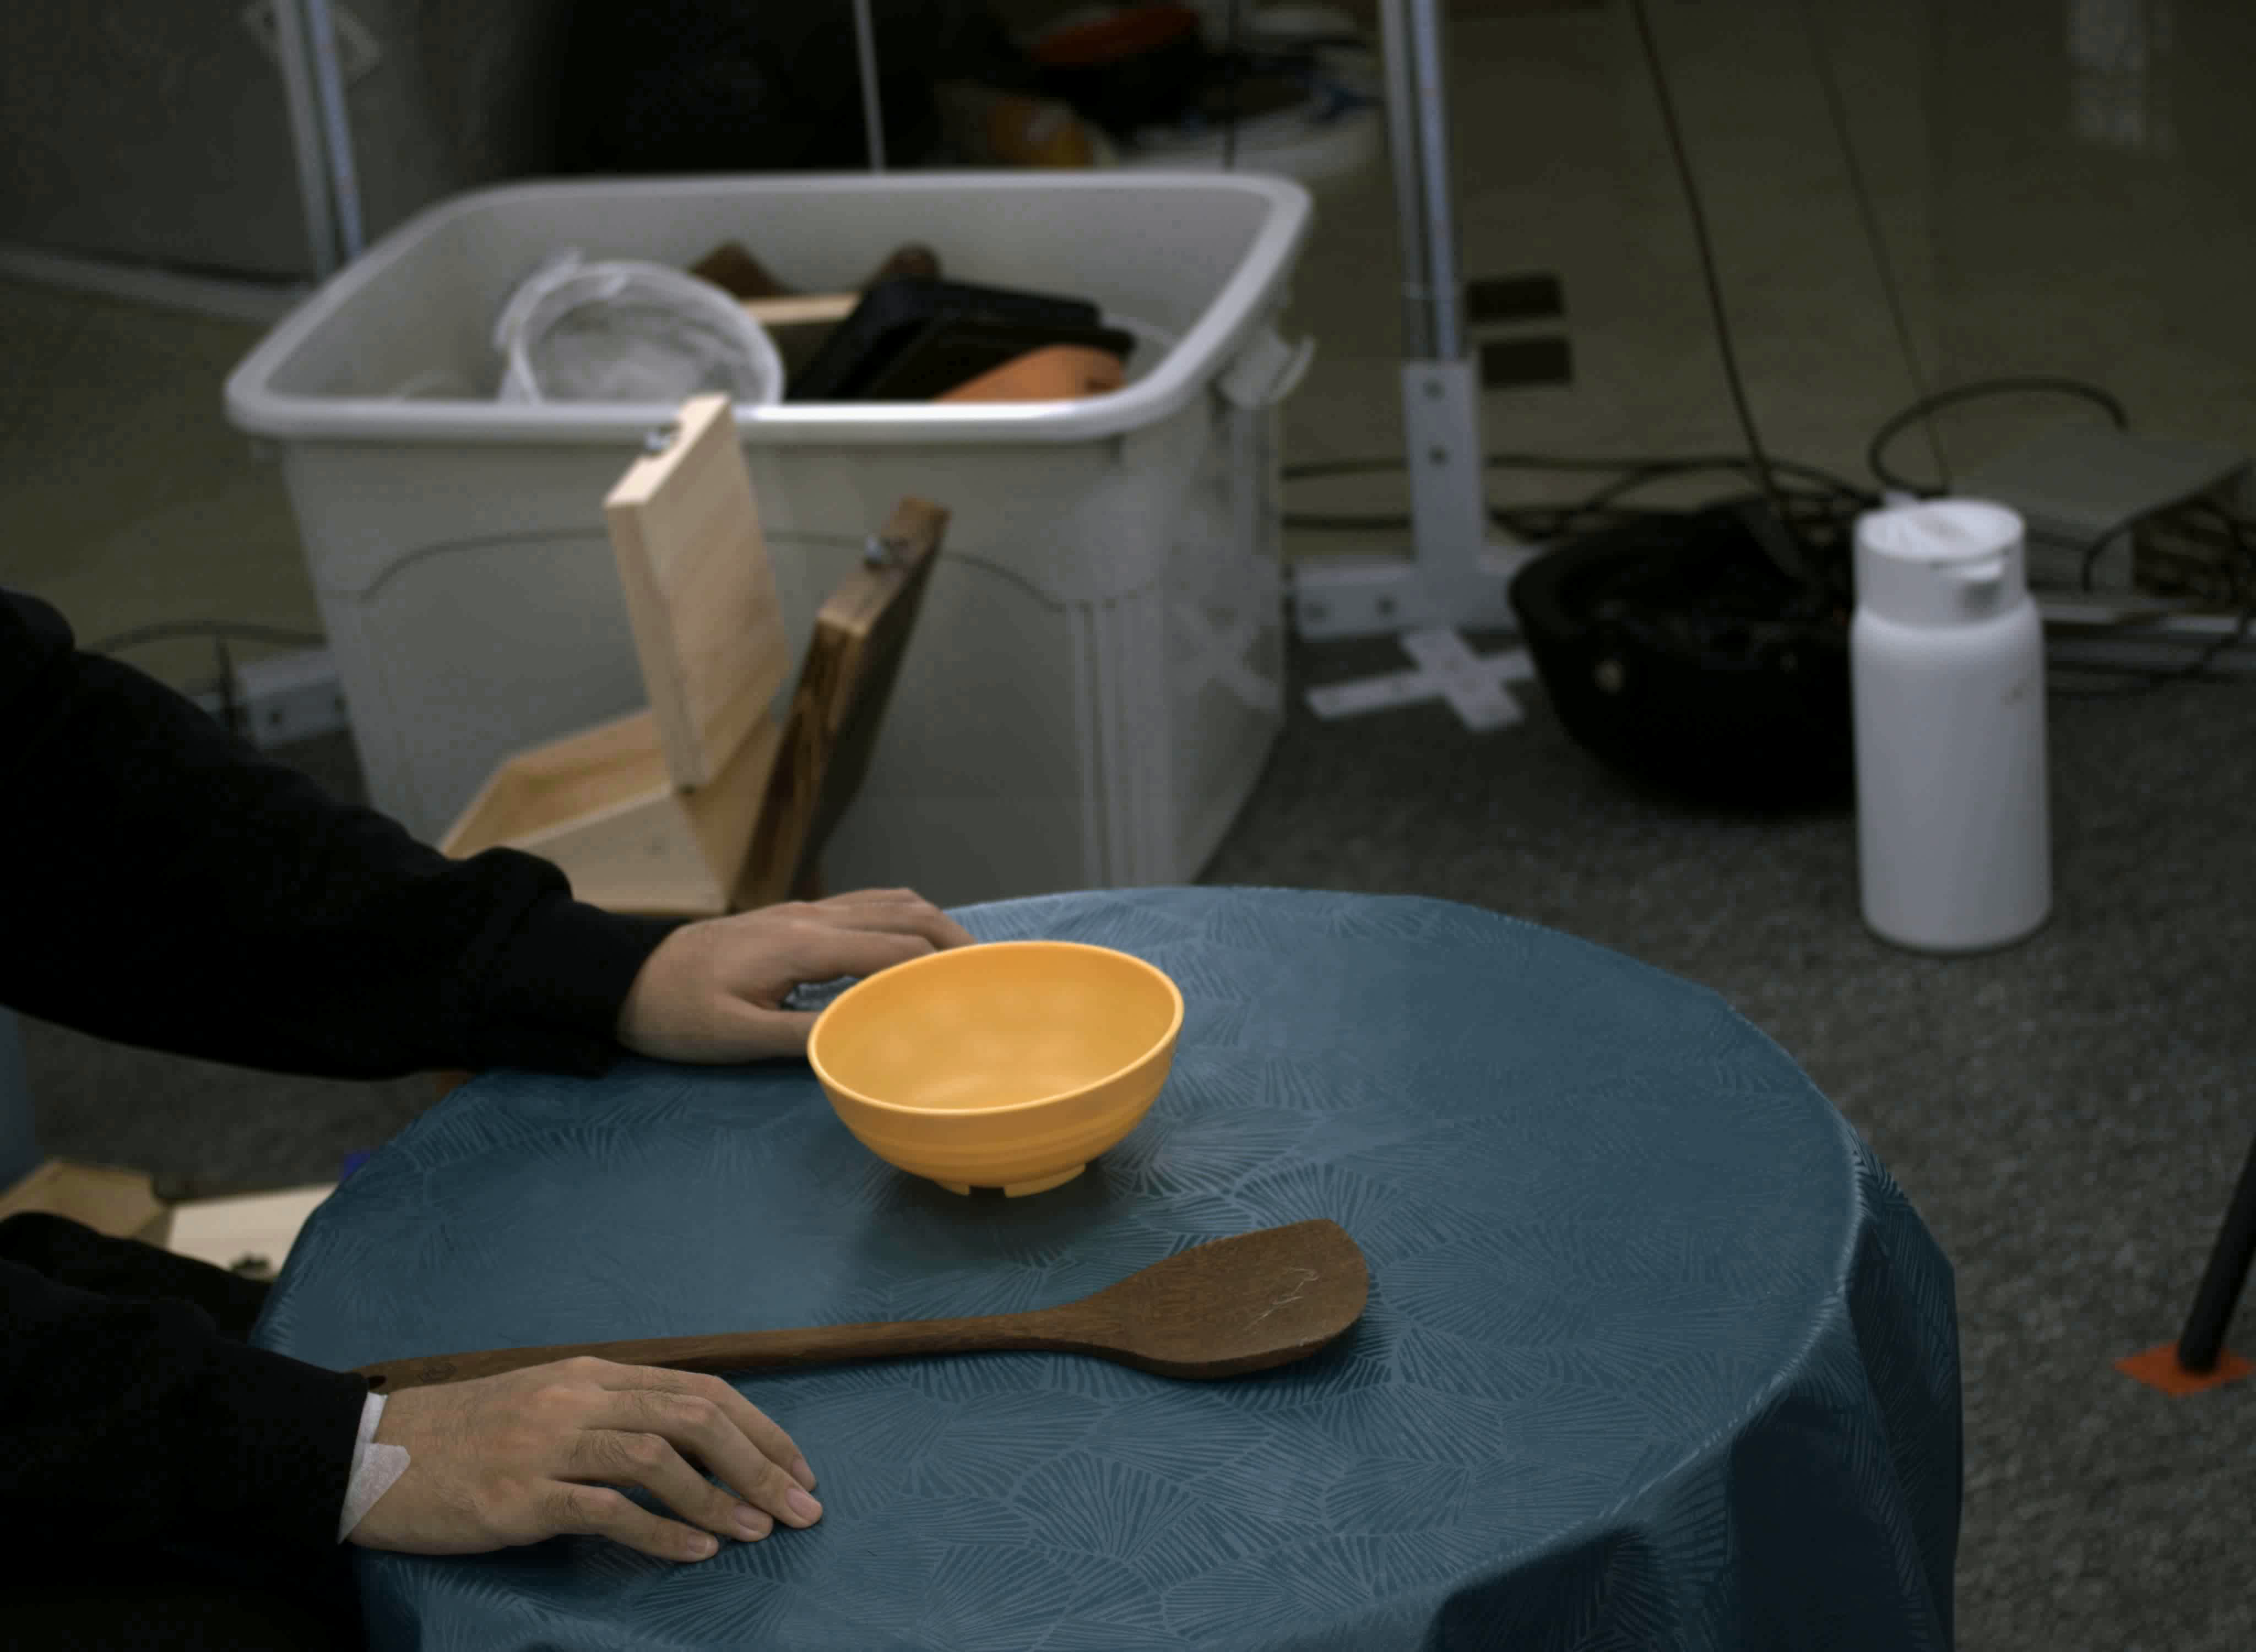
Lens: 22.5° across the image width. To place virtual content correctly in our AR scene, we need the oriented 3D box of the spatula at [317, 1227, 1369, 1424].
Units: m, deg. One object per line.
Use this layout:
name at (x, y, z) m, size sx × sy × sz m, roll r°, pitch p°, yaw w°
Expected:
spatula at (-0.105, 0.188, 2.057) m, size 0.385 × 0.016 × 0.095 m, roll -6°, pitch 24°, yaw 2°

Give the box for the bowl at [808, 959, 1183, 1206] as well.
bowl at (-0.048, 0.105, 2.172) m, size 0.145 × 0.061 × 0.143 m, roll -6°, pitch 22°, yaw 3°
